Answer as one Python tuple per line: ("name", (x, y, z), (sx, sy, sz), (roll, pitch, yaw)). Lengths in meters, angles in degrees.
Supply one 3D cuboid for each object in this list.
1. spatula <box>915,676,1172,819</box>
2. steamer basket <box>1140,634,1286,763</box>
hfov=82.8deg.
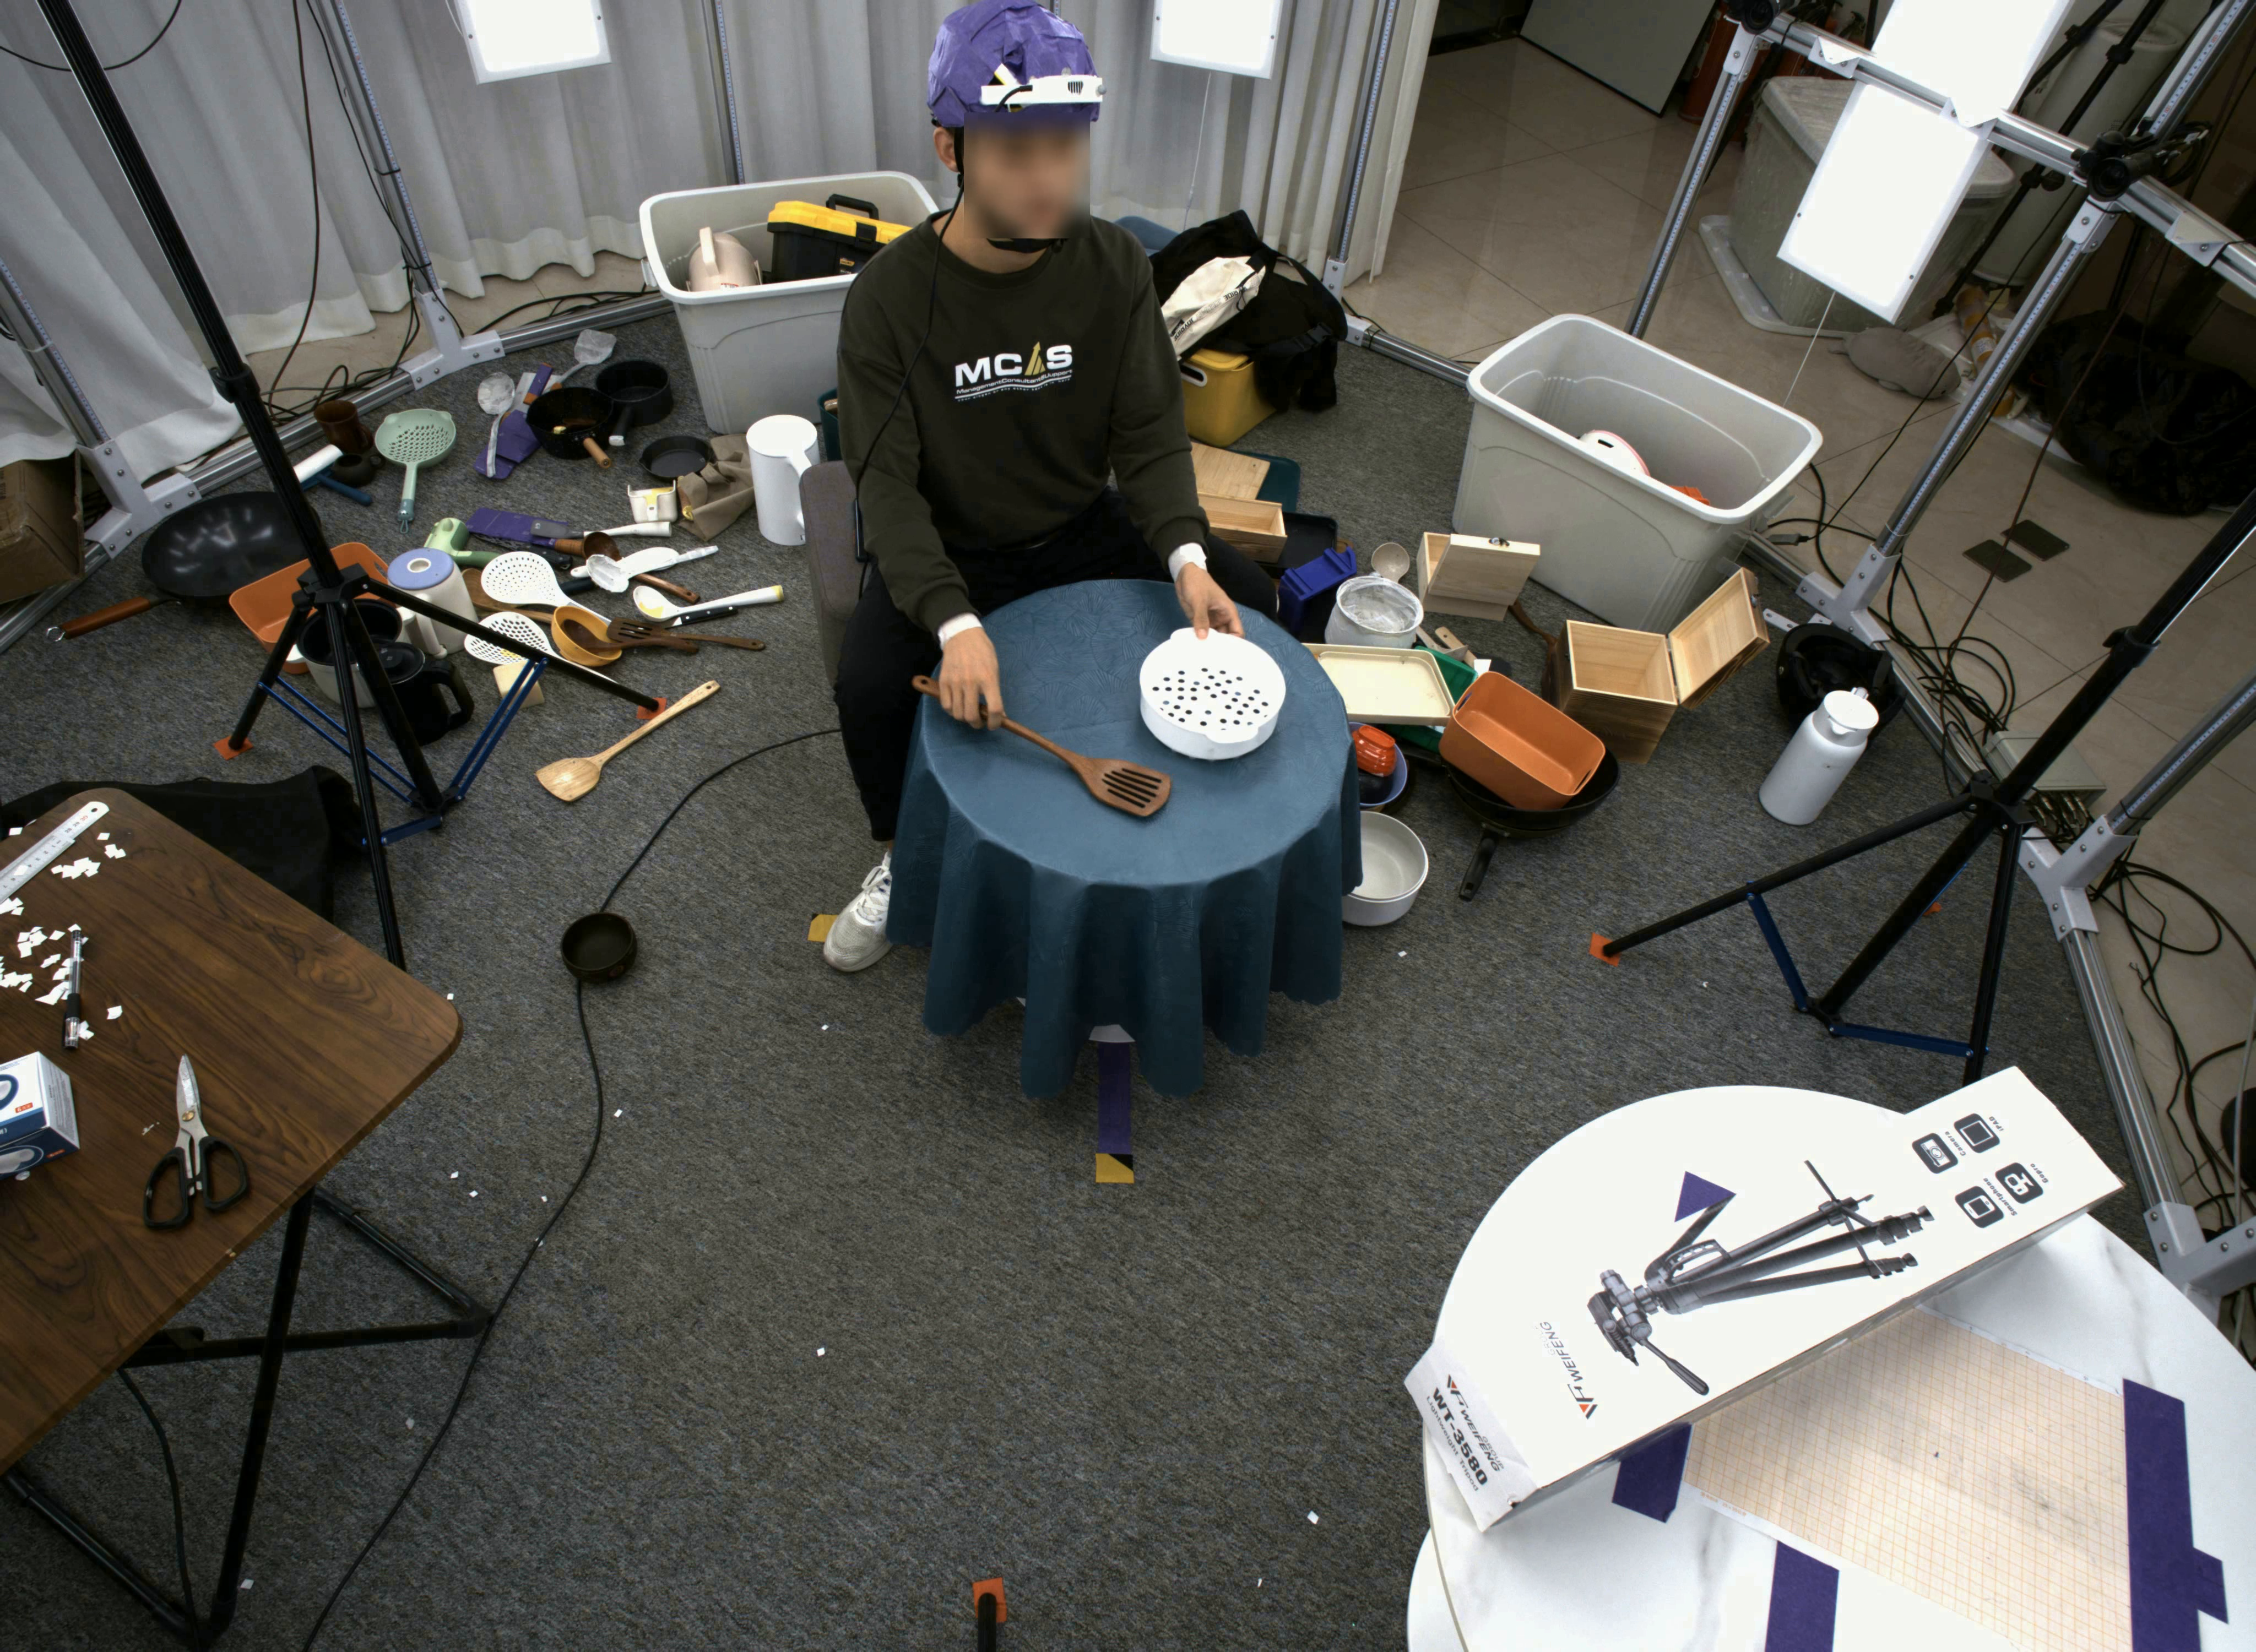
("spatula", (-0.122, -0.113, 1.728), (0.387, 0.023, 0.087), (27, 51, 11))
("steamer basket", (0.115, -0.174, 1.786), (0.201, 0.067, 0.236), (-6, 47, -12))
